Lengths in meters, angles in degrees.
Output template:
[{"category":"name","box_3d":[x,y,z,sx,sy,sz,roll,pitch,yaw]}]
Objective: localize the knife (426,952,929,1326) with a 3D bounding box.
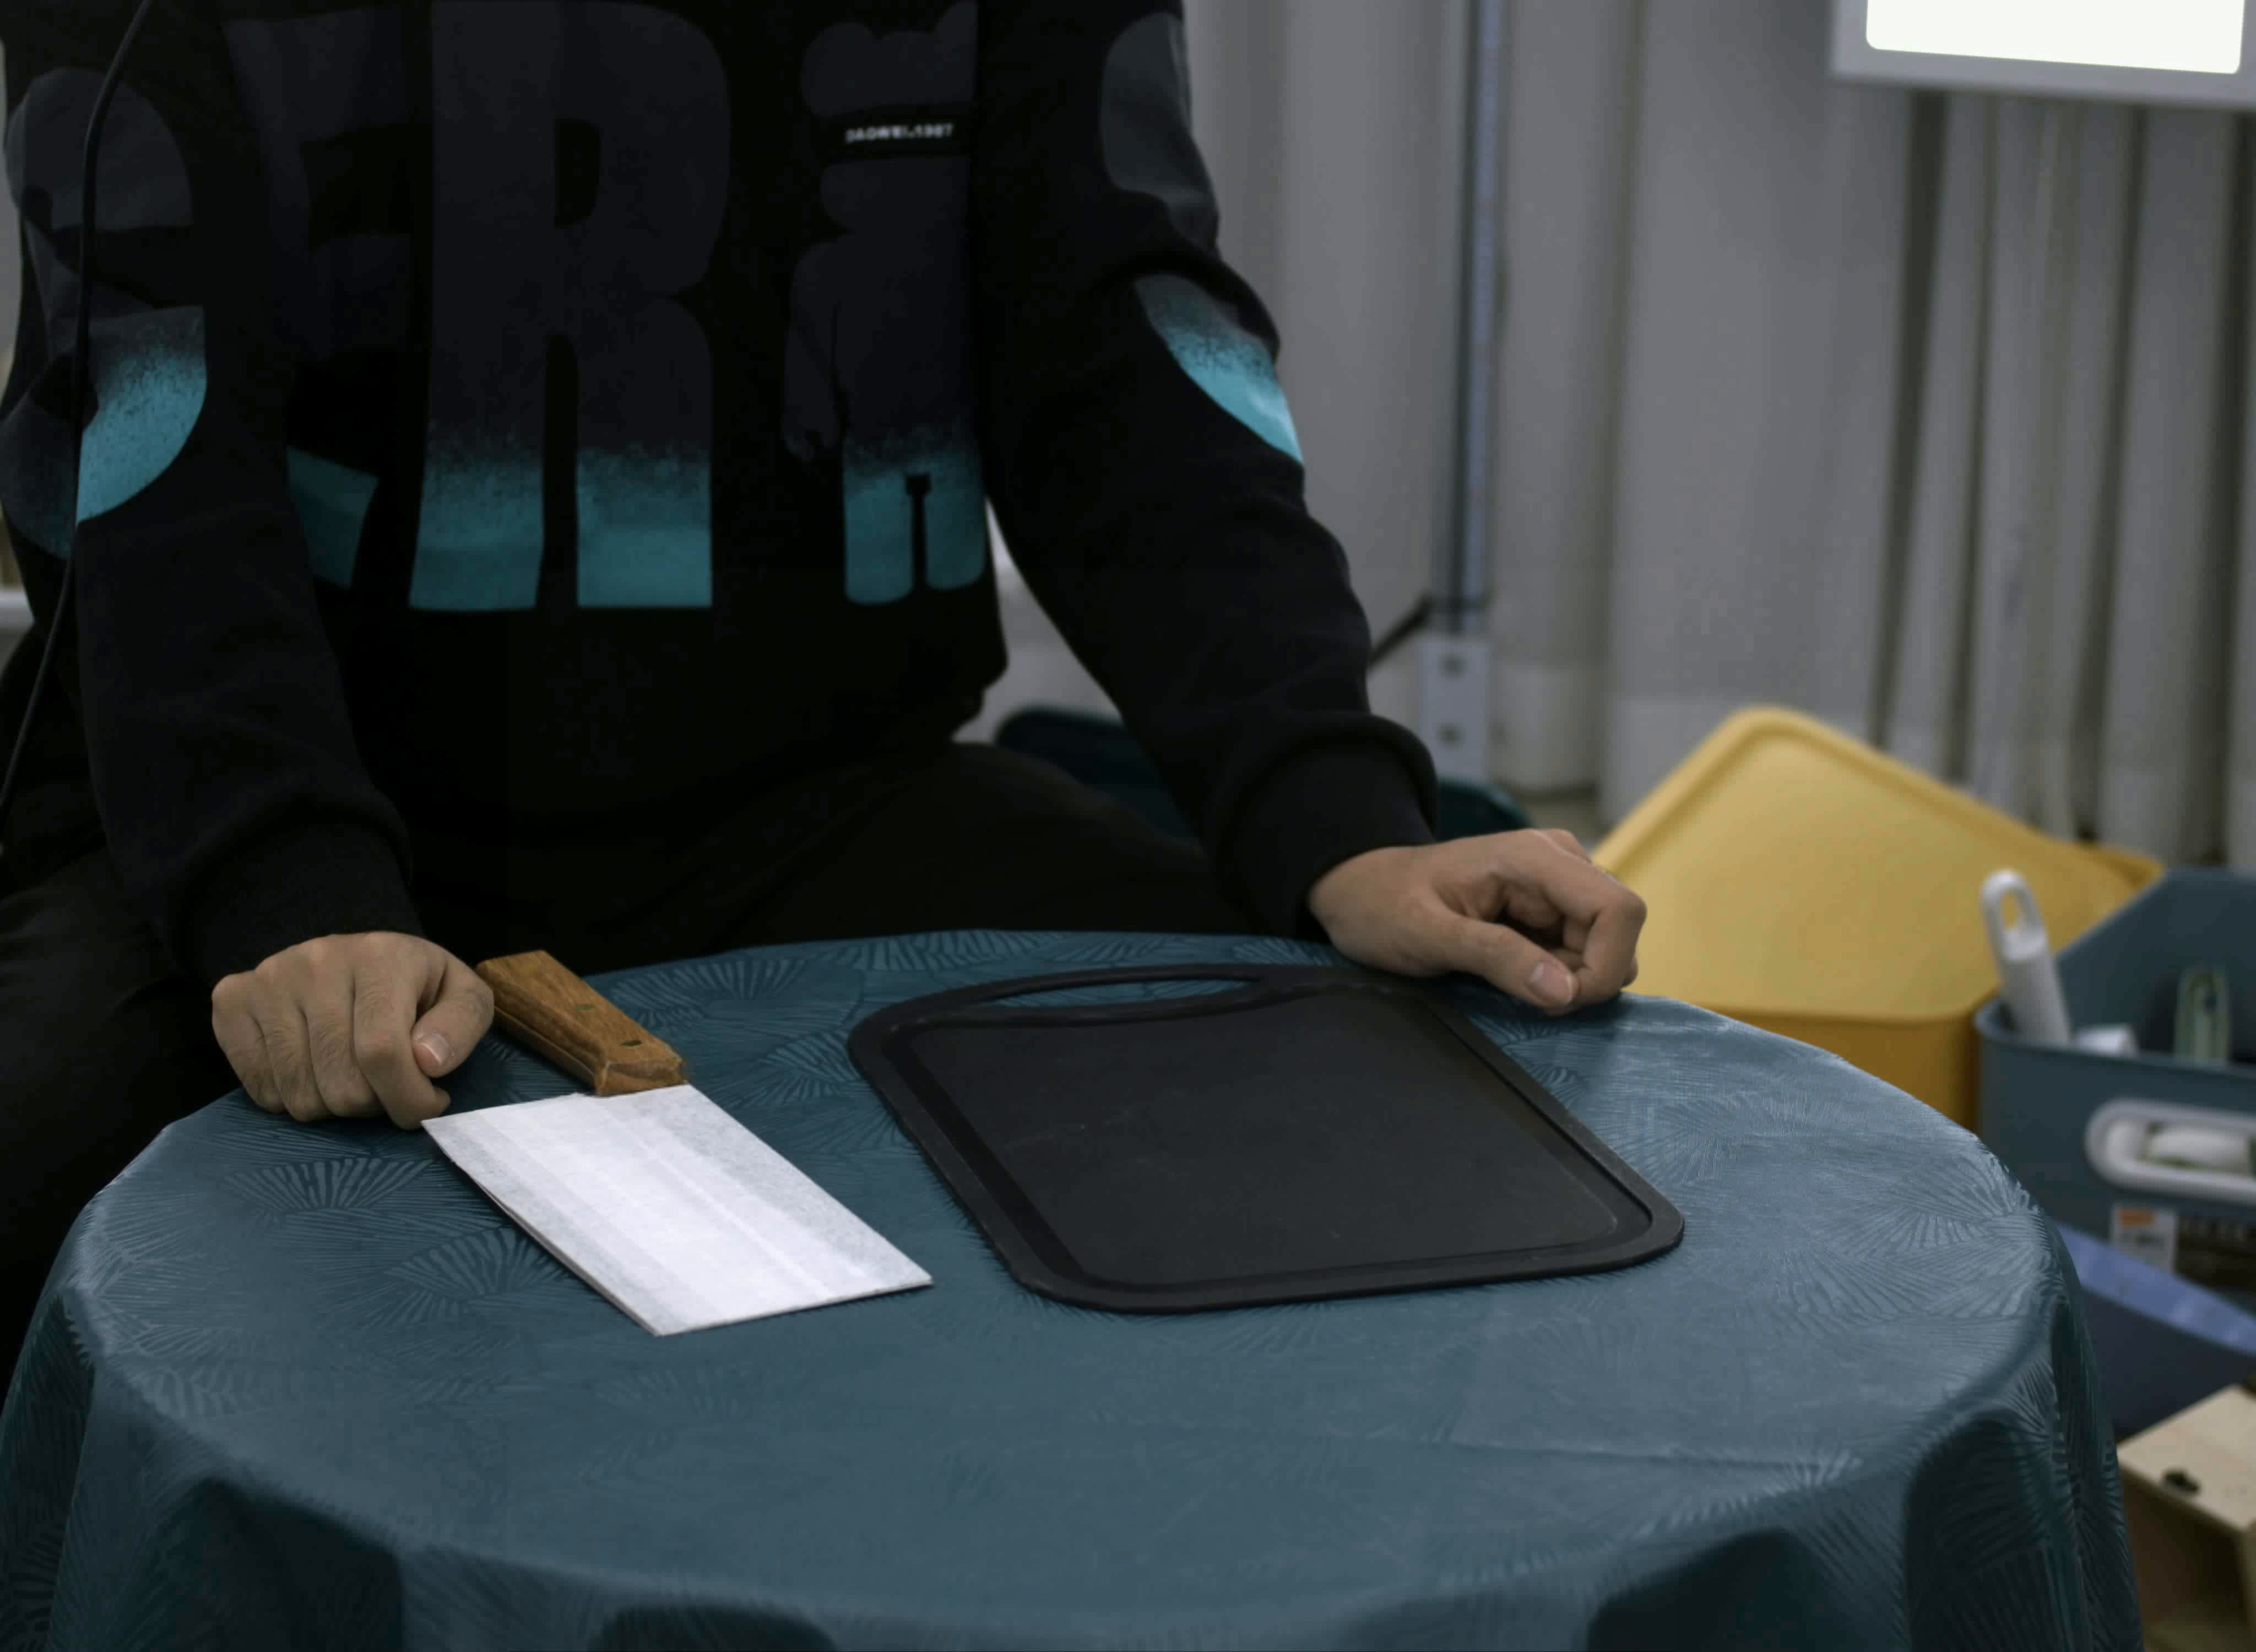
[{"category":"knife","box_3d":[-0.165,0.097,1.645,0.093,0.021,0.302,-9,21,-27]}]

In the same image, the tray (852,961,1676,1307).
[{"category":"tray","box_3d":[0.033,0.091,1.686,0.211,0.010,0.322,-4,16,-15]}]
